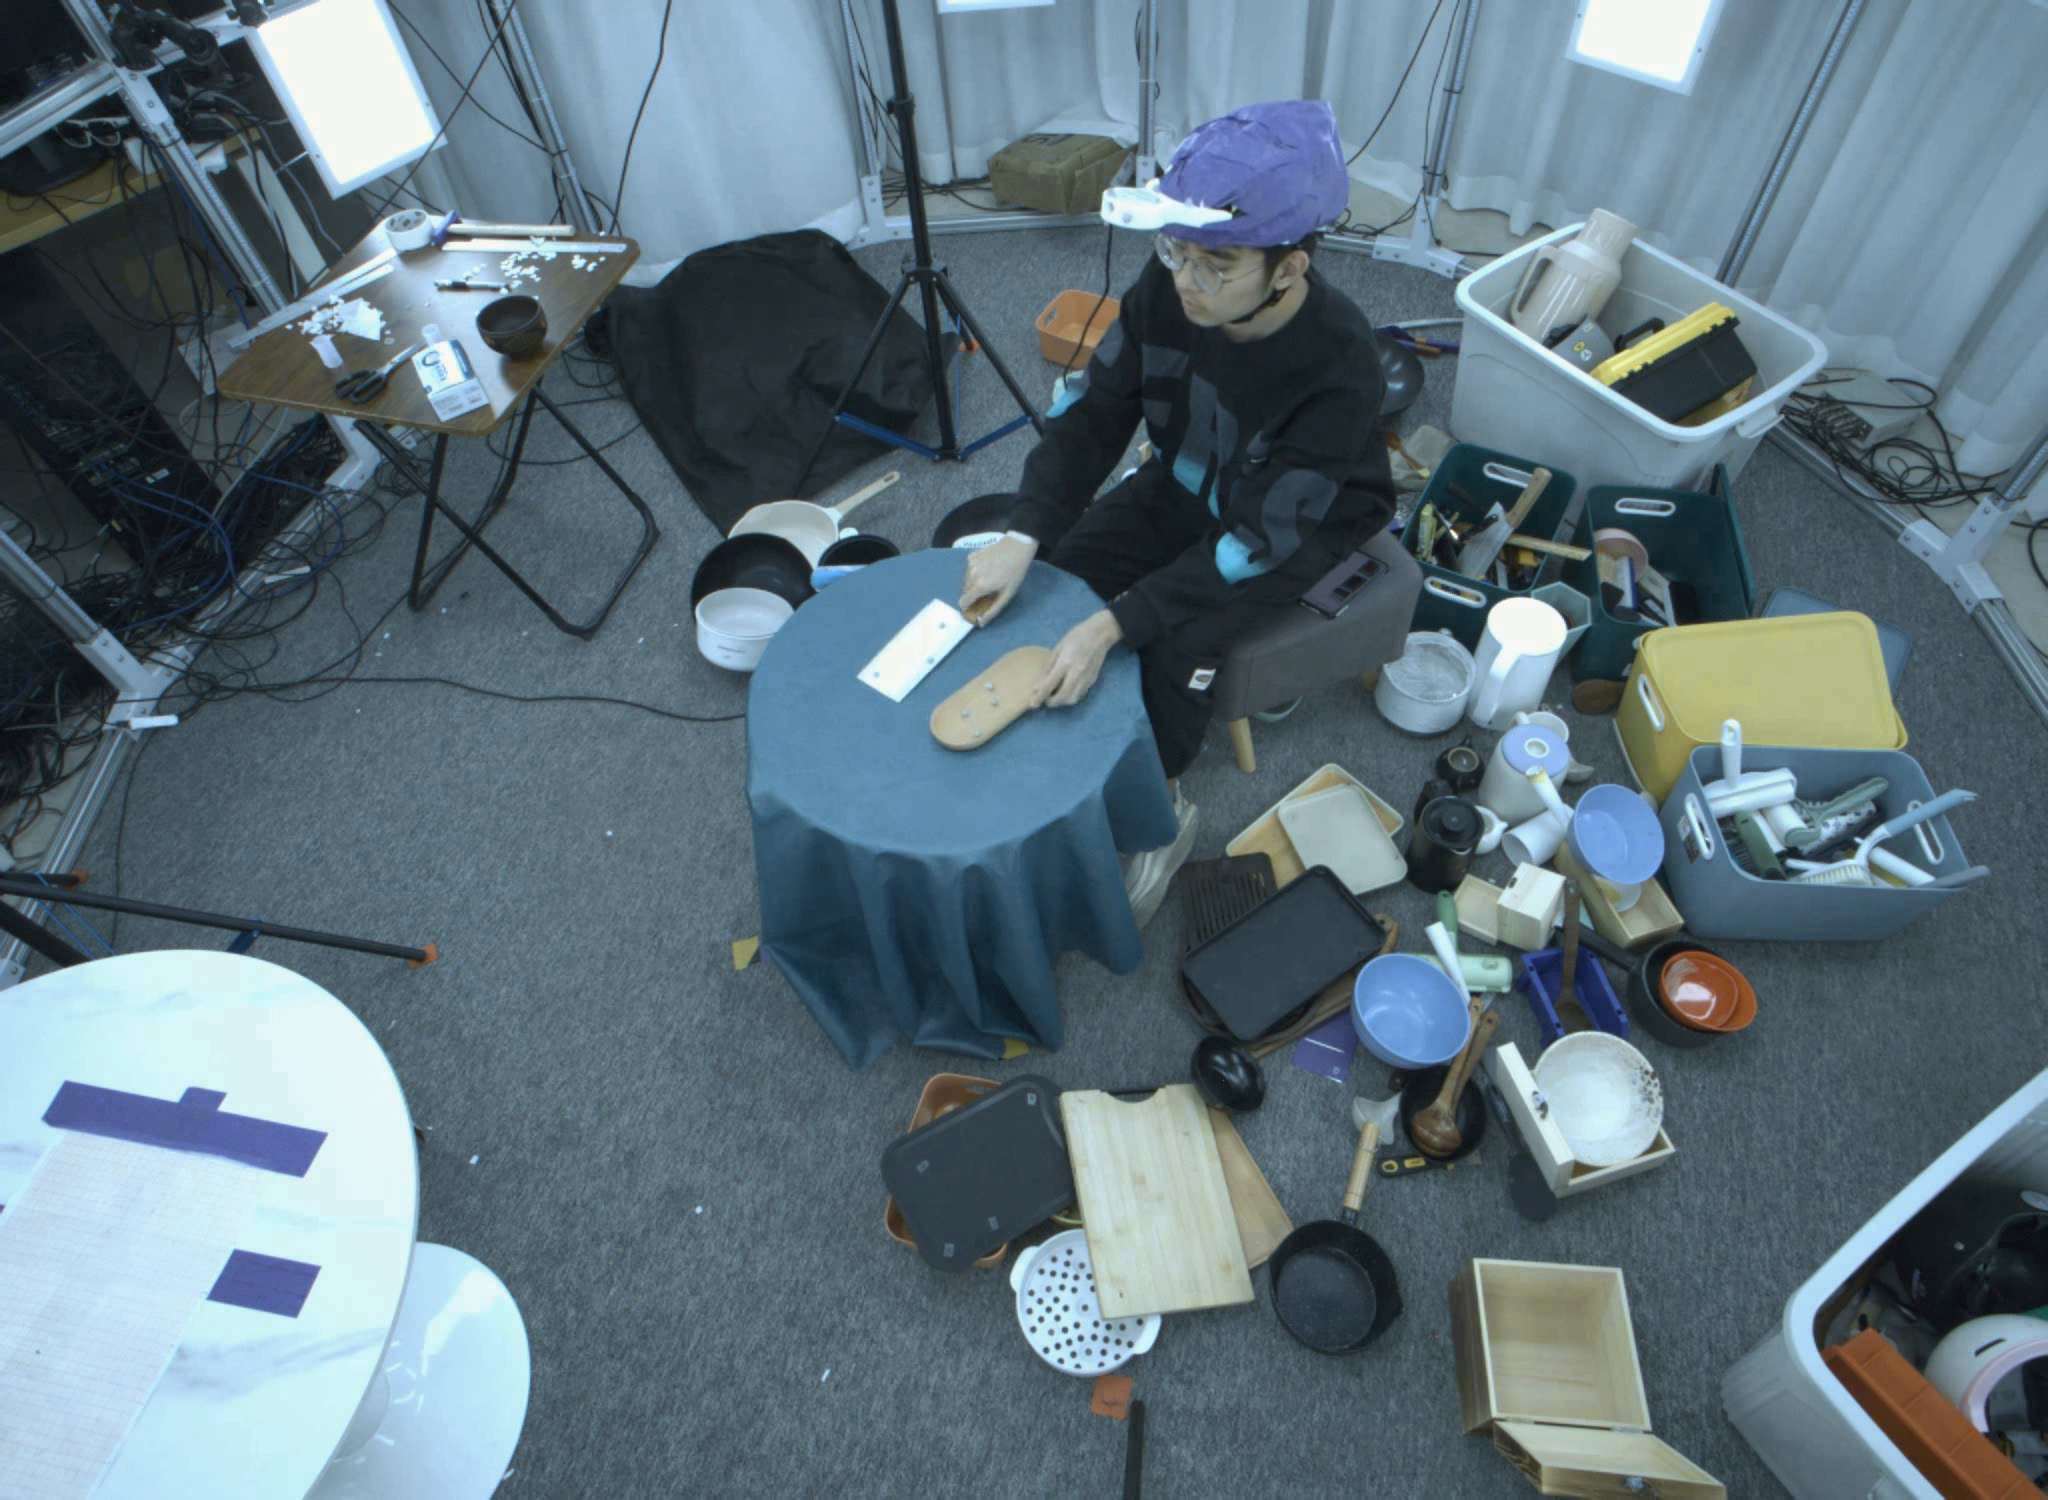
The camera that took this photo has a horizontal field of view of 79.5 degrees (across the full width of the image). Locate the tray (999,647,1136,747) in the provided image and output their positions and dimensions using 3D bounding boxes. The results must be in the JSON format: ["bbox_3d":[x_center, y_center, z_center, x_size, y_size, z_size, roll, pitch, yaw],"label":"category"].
[{"bbox_3d":[0.066,-0.080,1.827,0.233,0.020,0.099,-33,56,-20],"label":"tray"}]

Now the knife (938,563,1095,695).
[{"bbox_3d":[-0.015,-0.201,1.916,0.091,0.021,0.307,35,67,25],"label":"knife"}]
